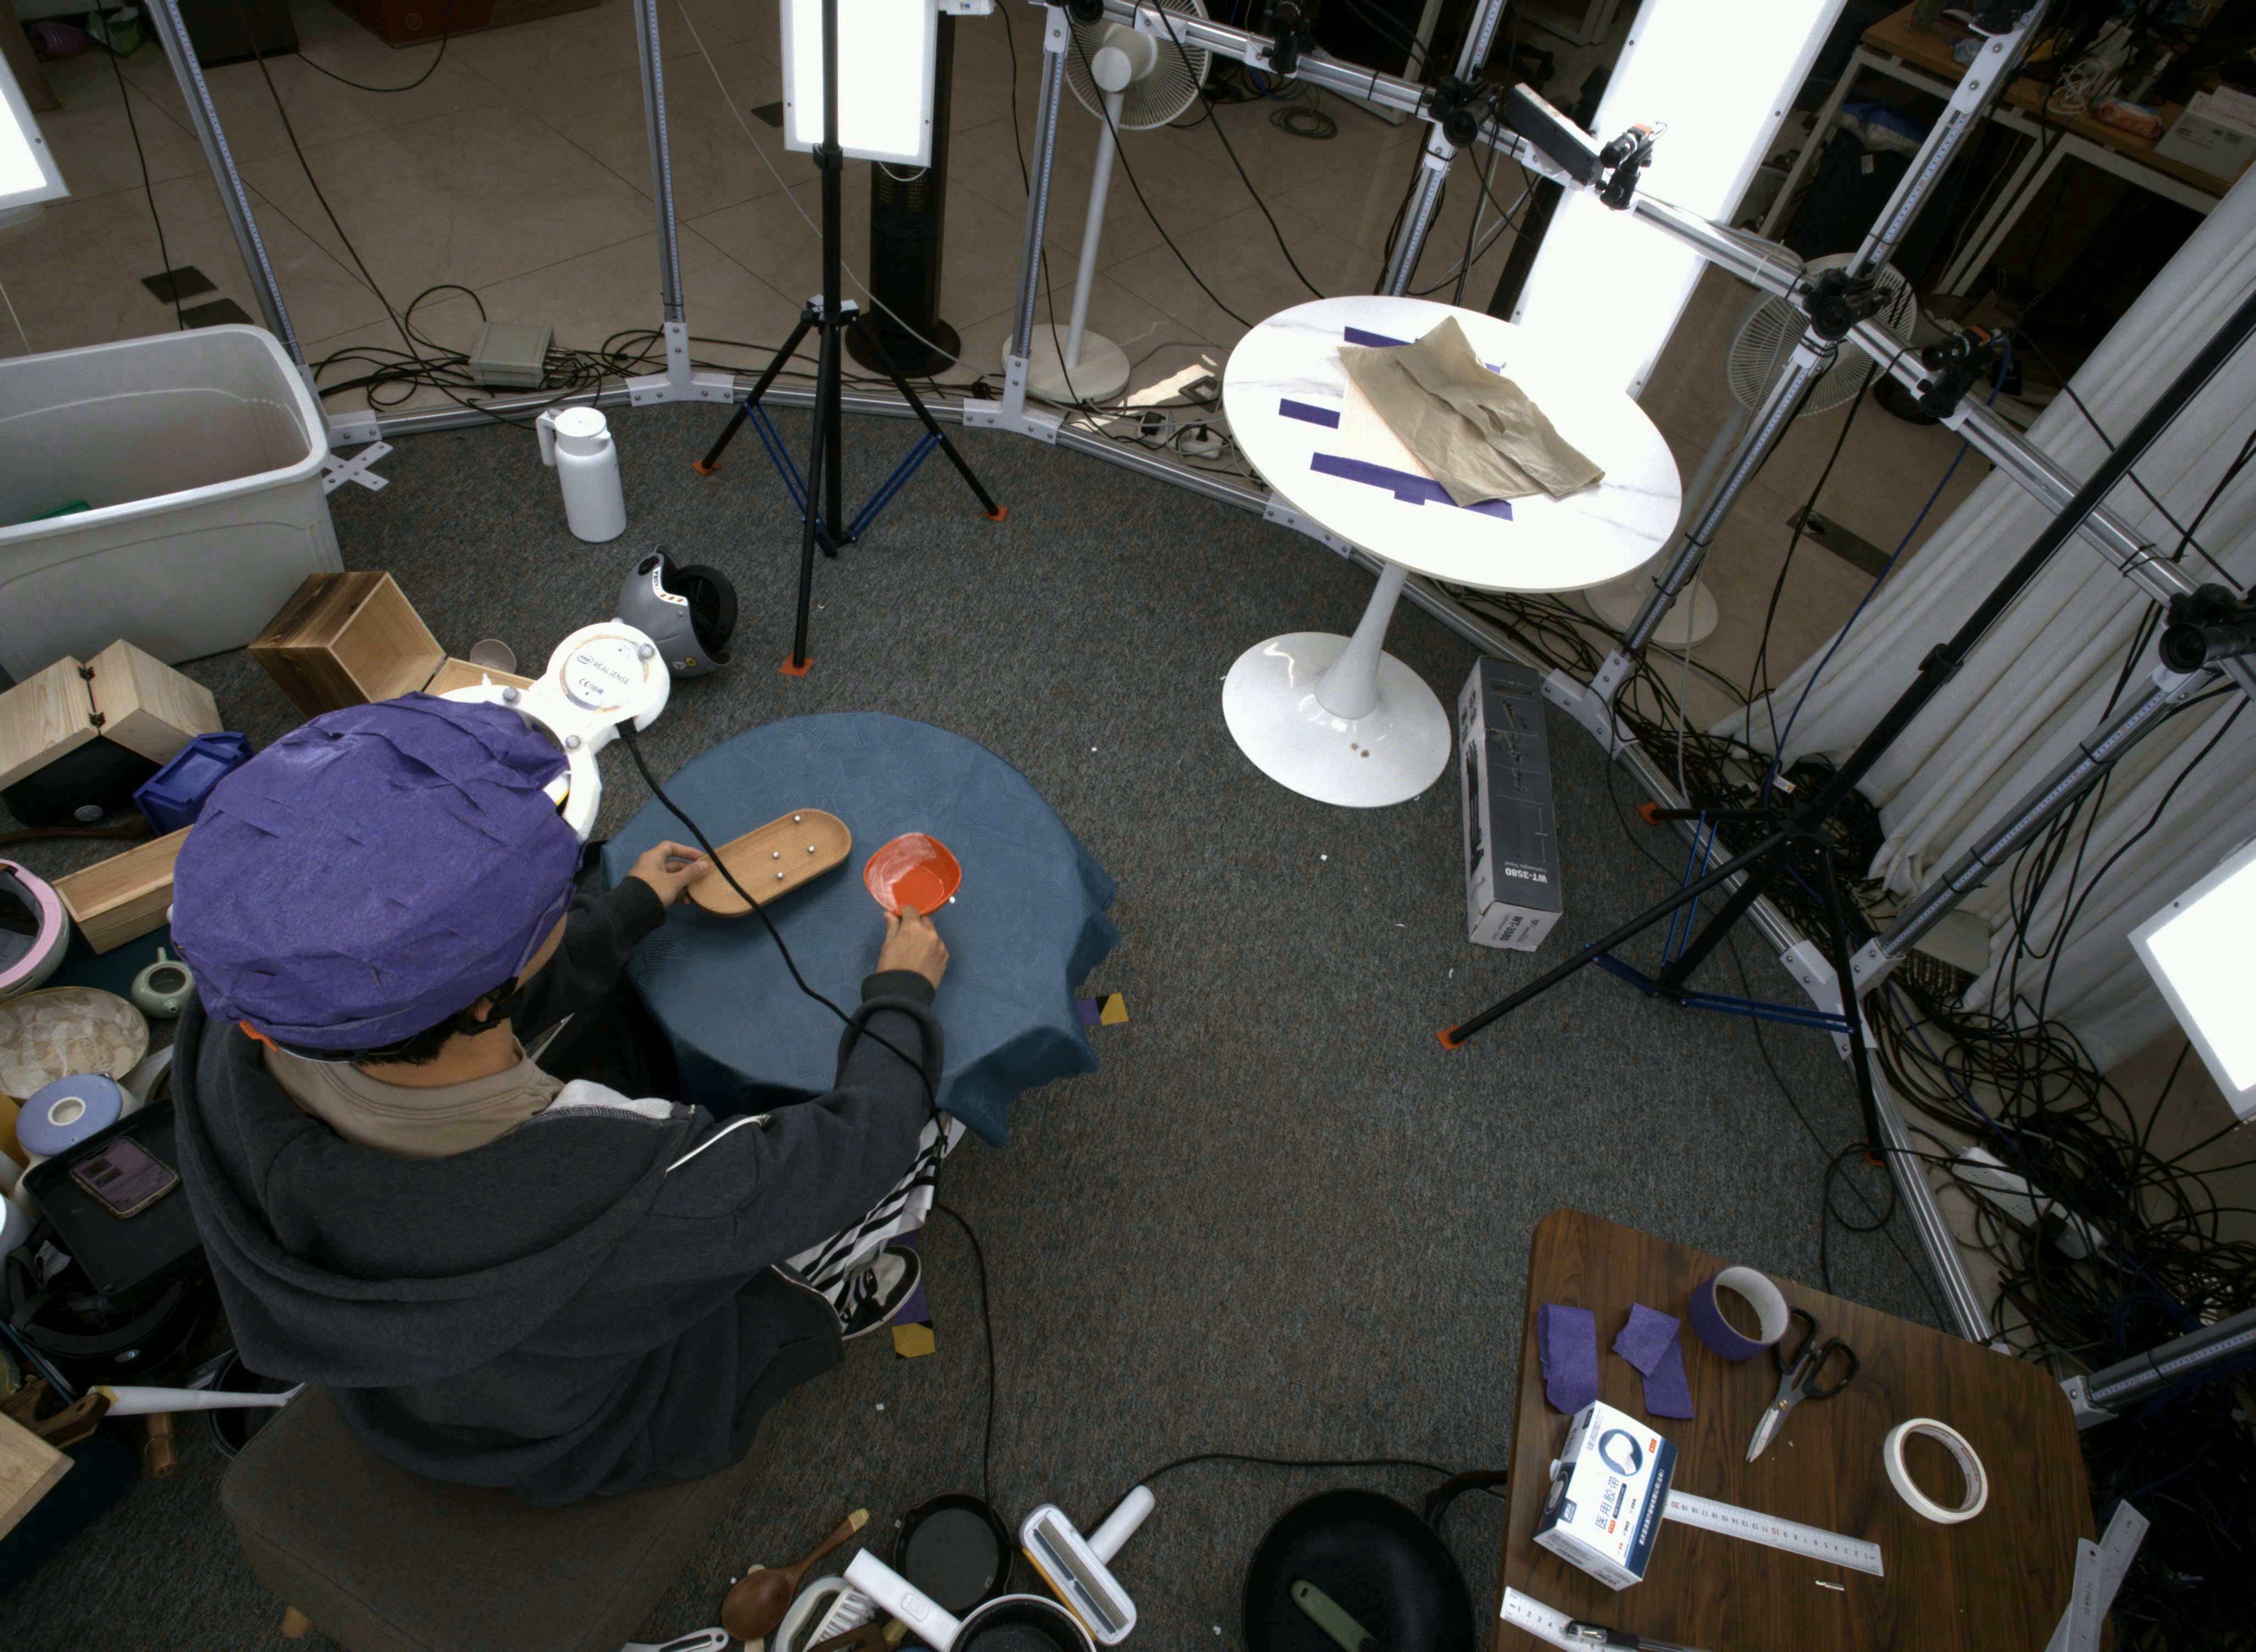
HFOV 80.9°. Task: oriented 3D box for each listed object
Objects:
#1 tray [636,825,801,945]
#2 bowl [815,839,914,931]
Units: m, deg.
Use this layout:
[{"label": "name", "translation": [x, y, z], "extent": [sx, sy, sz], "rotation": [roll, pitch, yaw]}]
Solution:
[{"label": "tray", "translation": [-0.508, 0.069, 1.608], "extent": [0.099, 0.021, 0.231], "rotation": [39, 47, 14]}, {"label": "bowl", "translation": [-0.318, 0.078, 1.577], "extent": [0.118, 0.052, 0.117], "rotation": [4, 59, -5]}]
